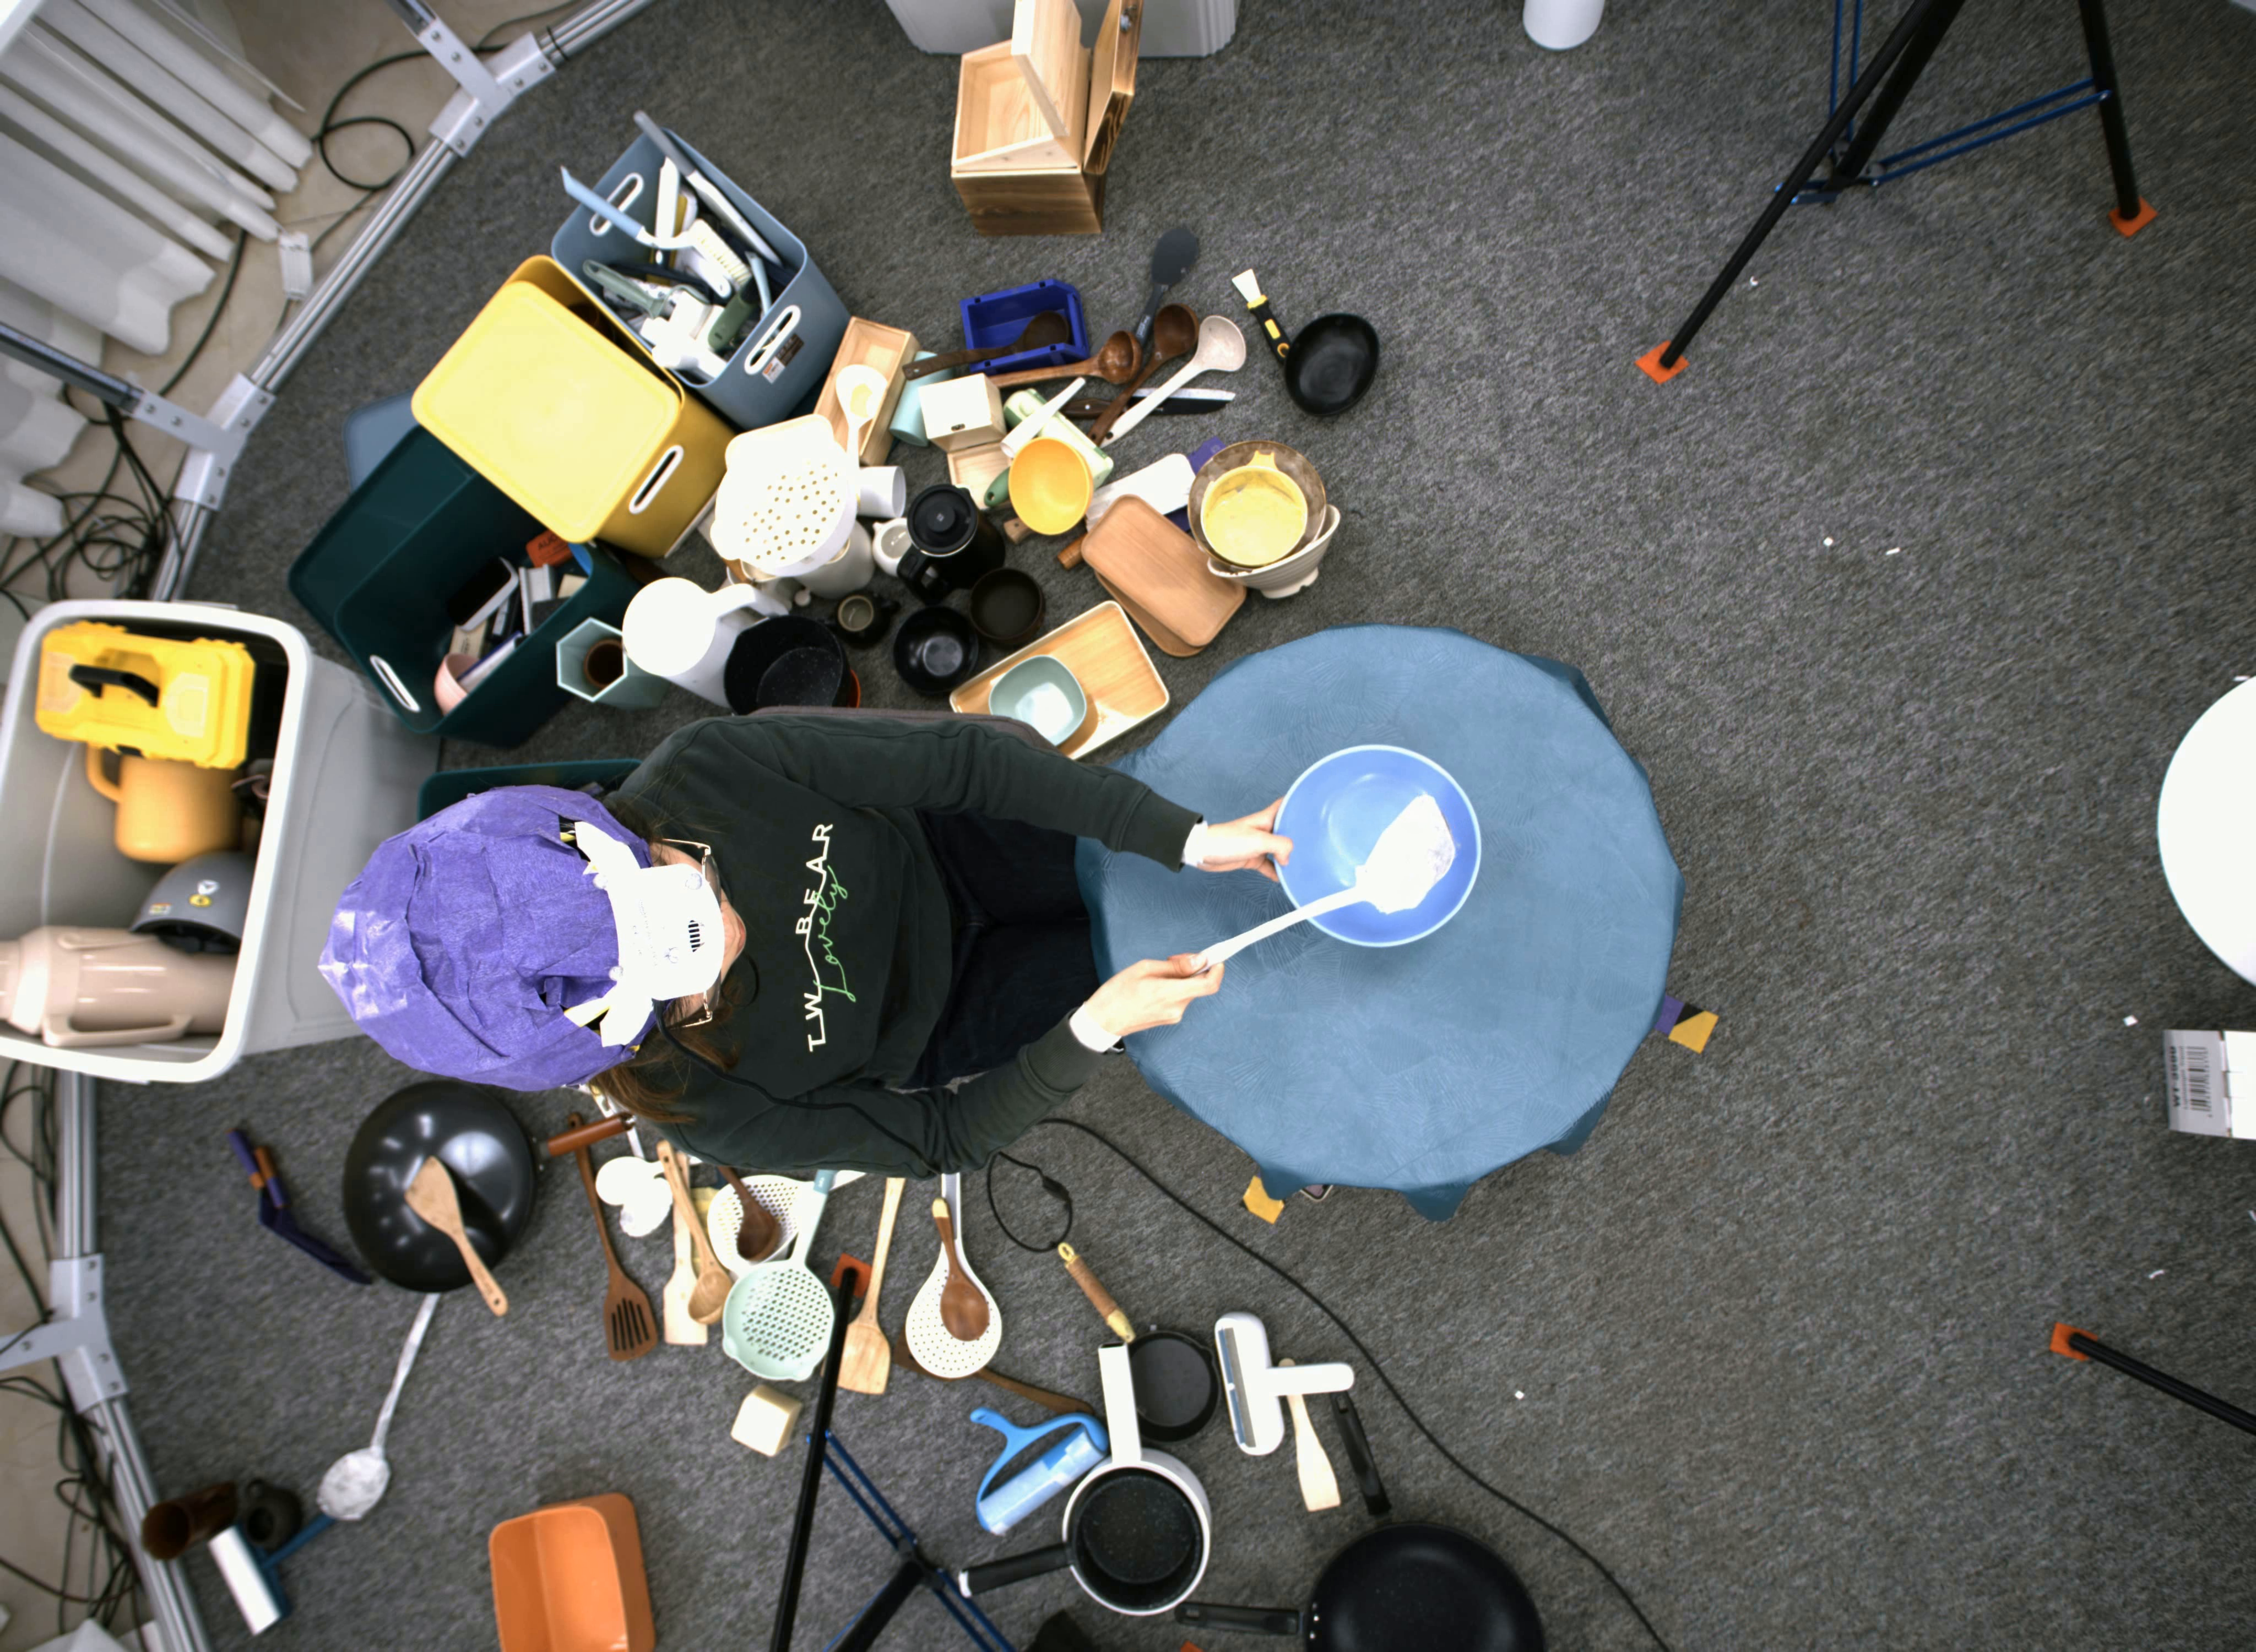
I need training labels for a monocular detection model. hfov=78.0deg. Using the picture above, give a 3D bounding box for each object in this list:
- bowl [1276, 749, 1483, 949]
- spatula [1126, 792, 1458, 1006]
[{"bbox_3d":[0.248,0.013,1.356,0.197,0.094,0.199,3,105,13],"label":"bowl"},{"bbox_3d":[0.142,0.085,1.284,0.369,0.045,0.096,-28,43,19],"label":"spatula"}]
